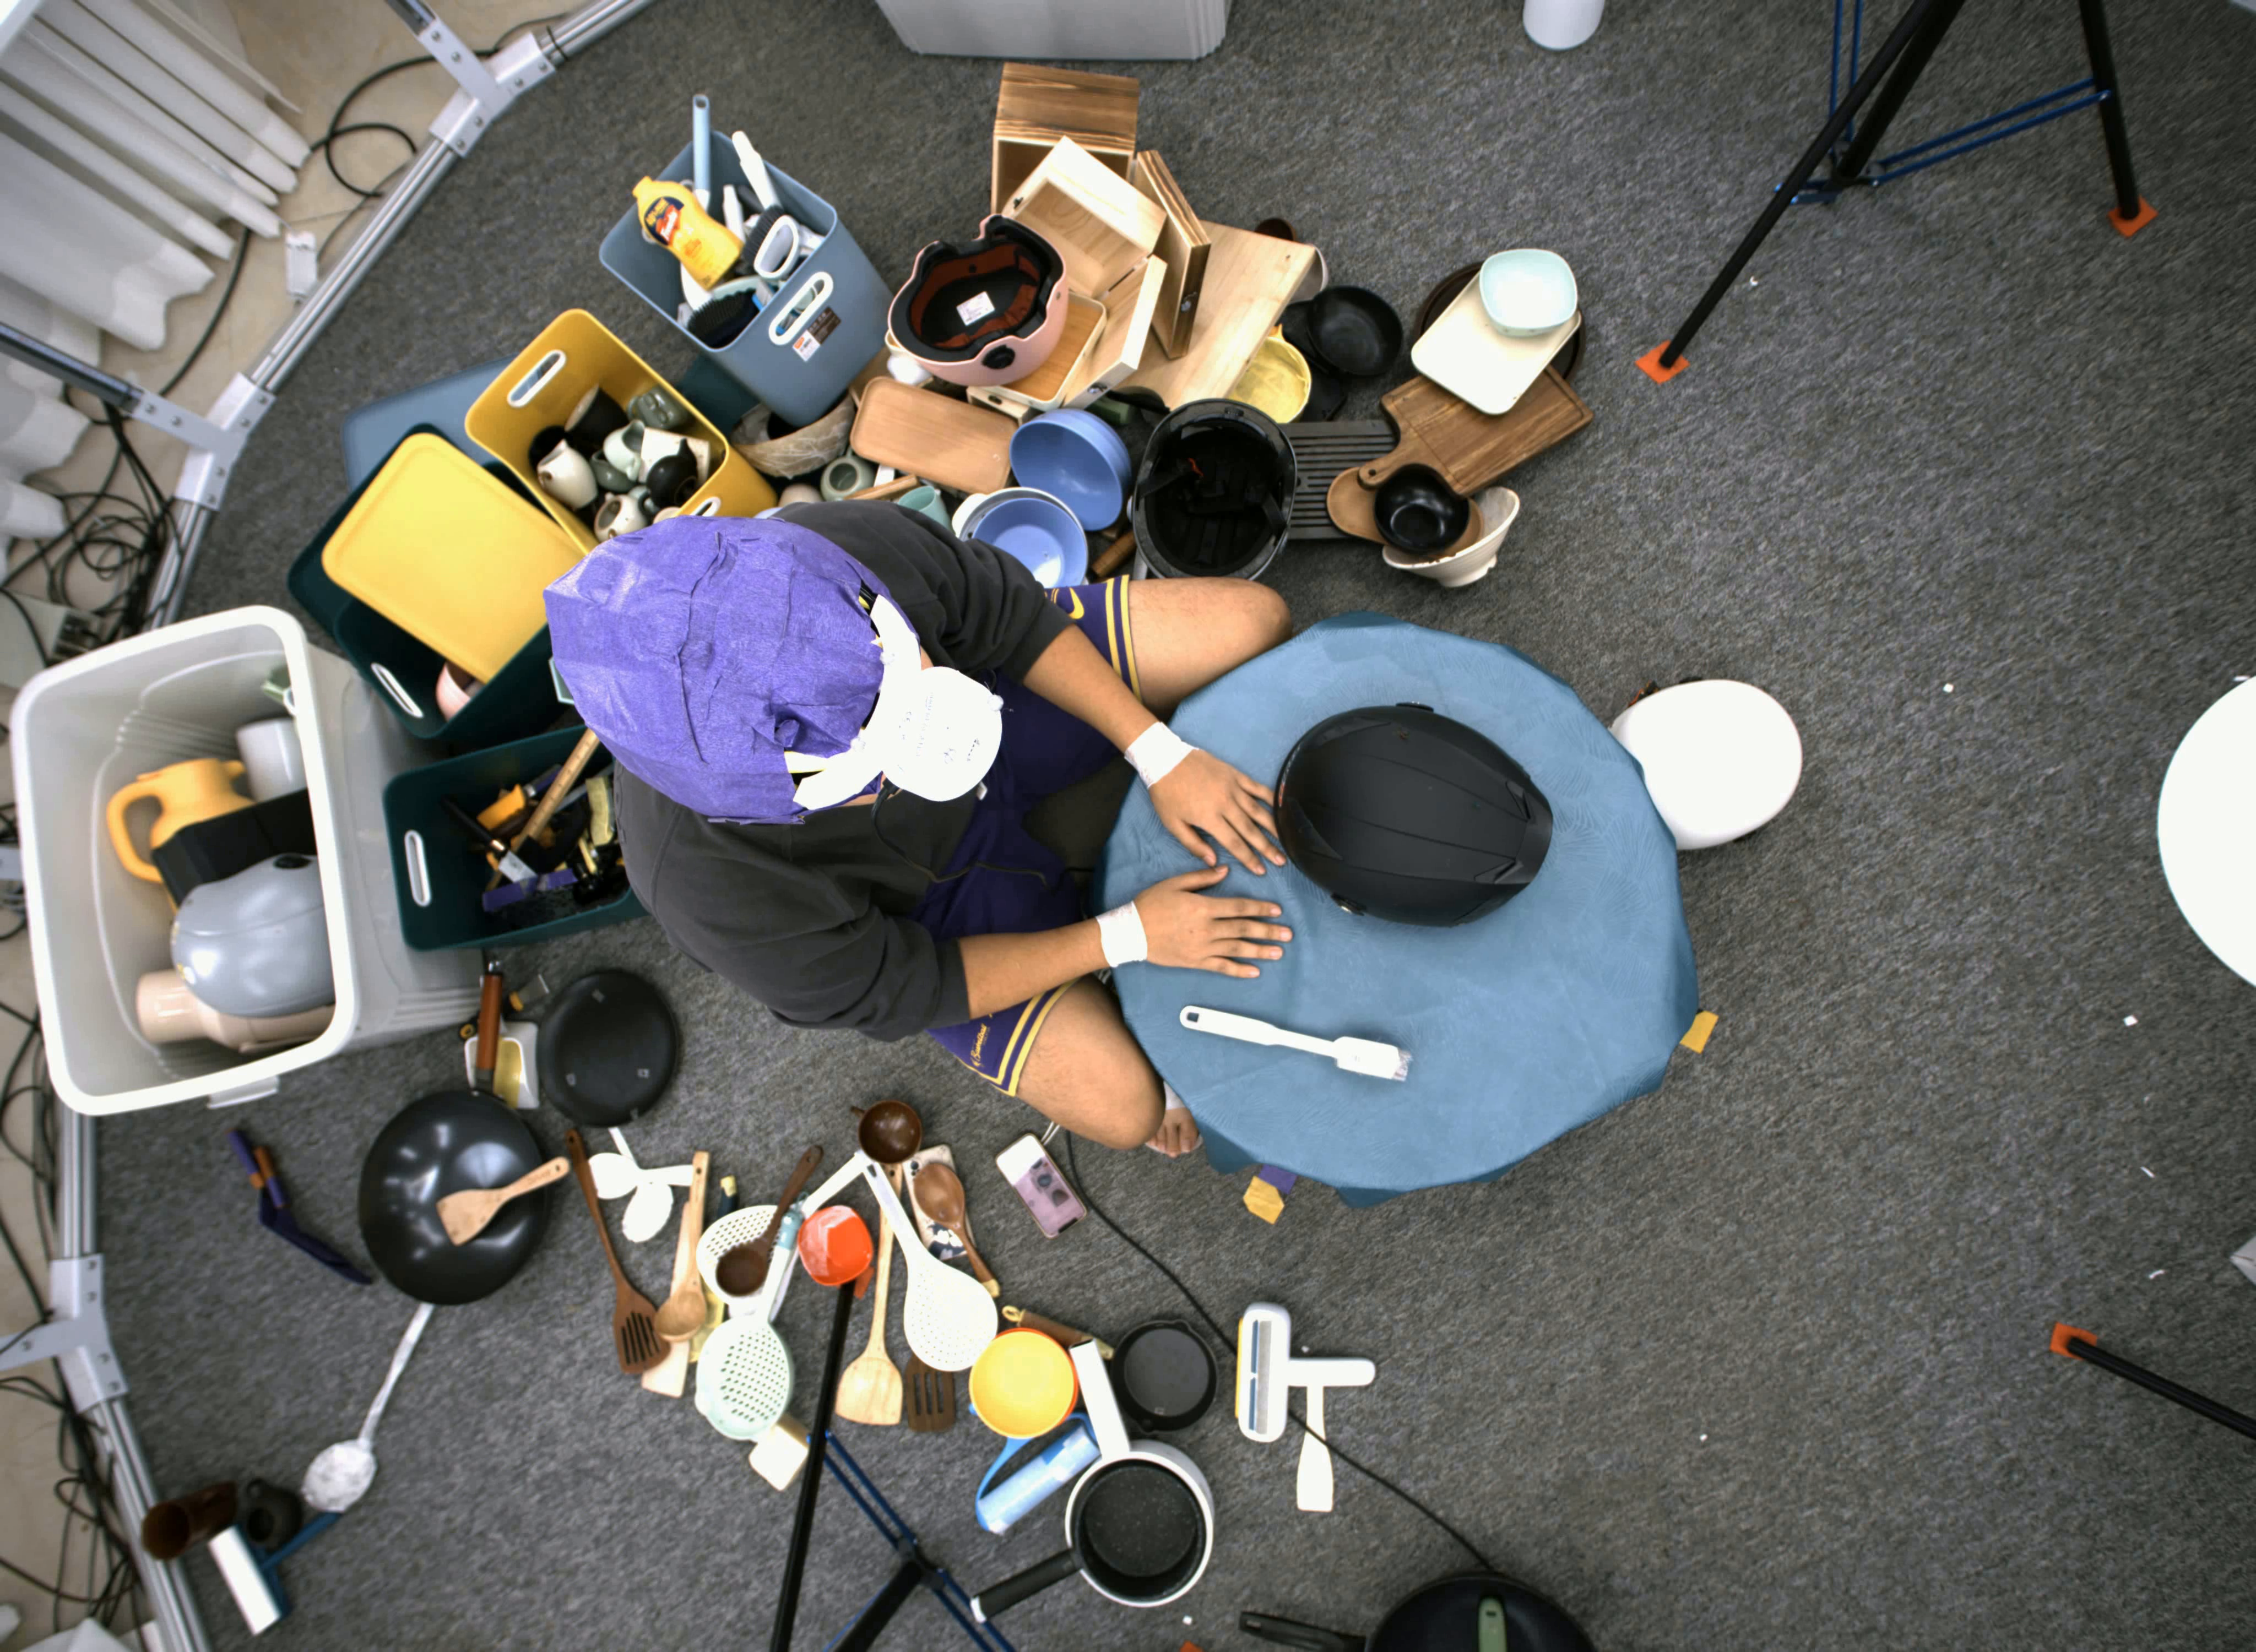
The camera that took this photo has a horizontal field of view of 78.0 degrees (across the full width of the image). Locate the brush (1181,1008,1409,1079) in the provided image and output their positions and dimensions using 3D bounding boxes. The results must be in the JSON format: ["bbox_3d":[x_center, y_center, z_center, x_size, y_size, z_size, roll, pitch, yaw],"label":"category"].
[{"bbox_3d":[0.173,0.226,1.458,0.244,0.050,0.034,8,79,24],"label":"brush"}]

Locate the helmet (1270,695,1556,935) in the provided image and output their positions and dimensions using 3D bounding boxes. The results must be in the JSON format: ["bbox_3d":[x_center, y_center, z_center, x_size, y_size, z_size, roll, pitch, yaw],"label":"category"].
[{"bbox_3d":[0.282,-0.020,1.381,0.277,0.172,0.246,21,89,9],"label":"helmet"}]
